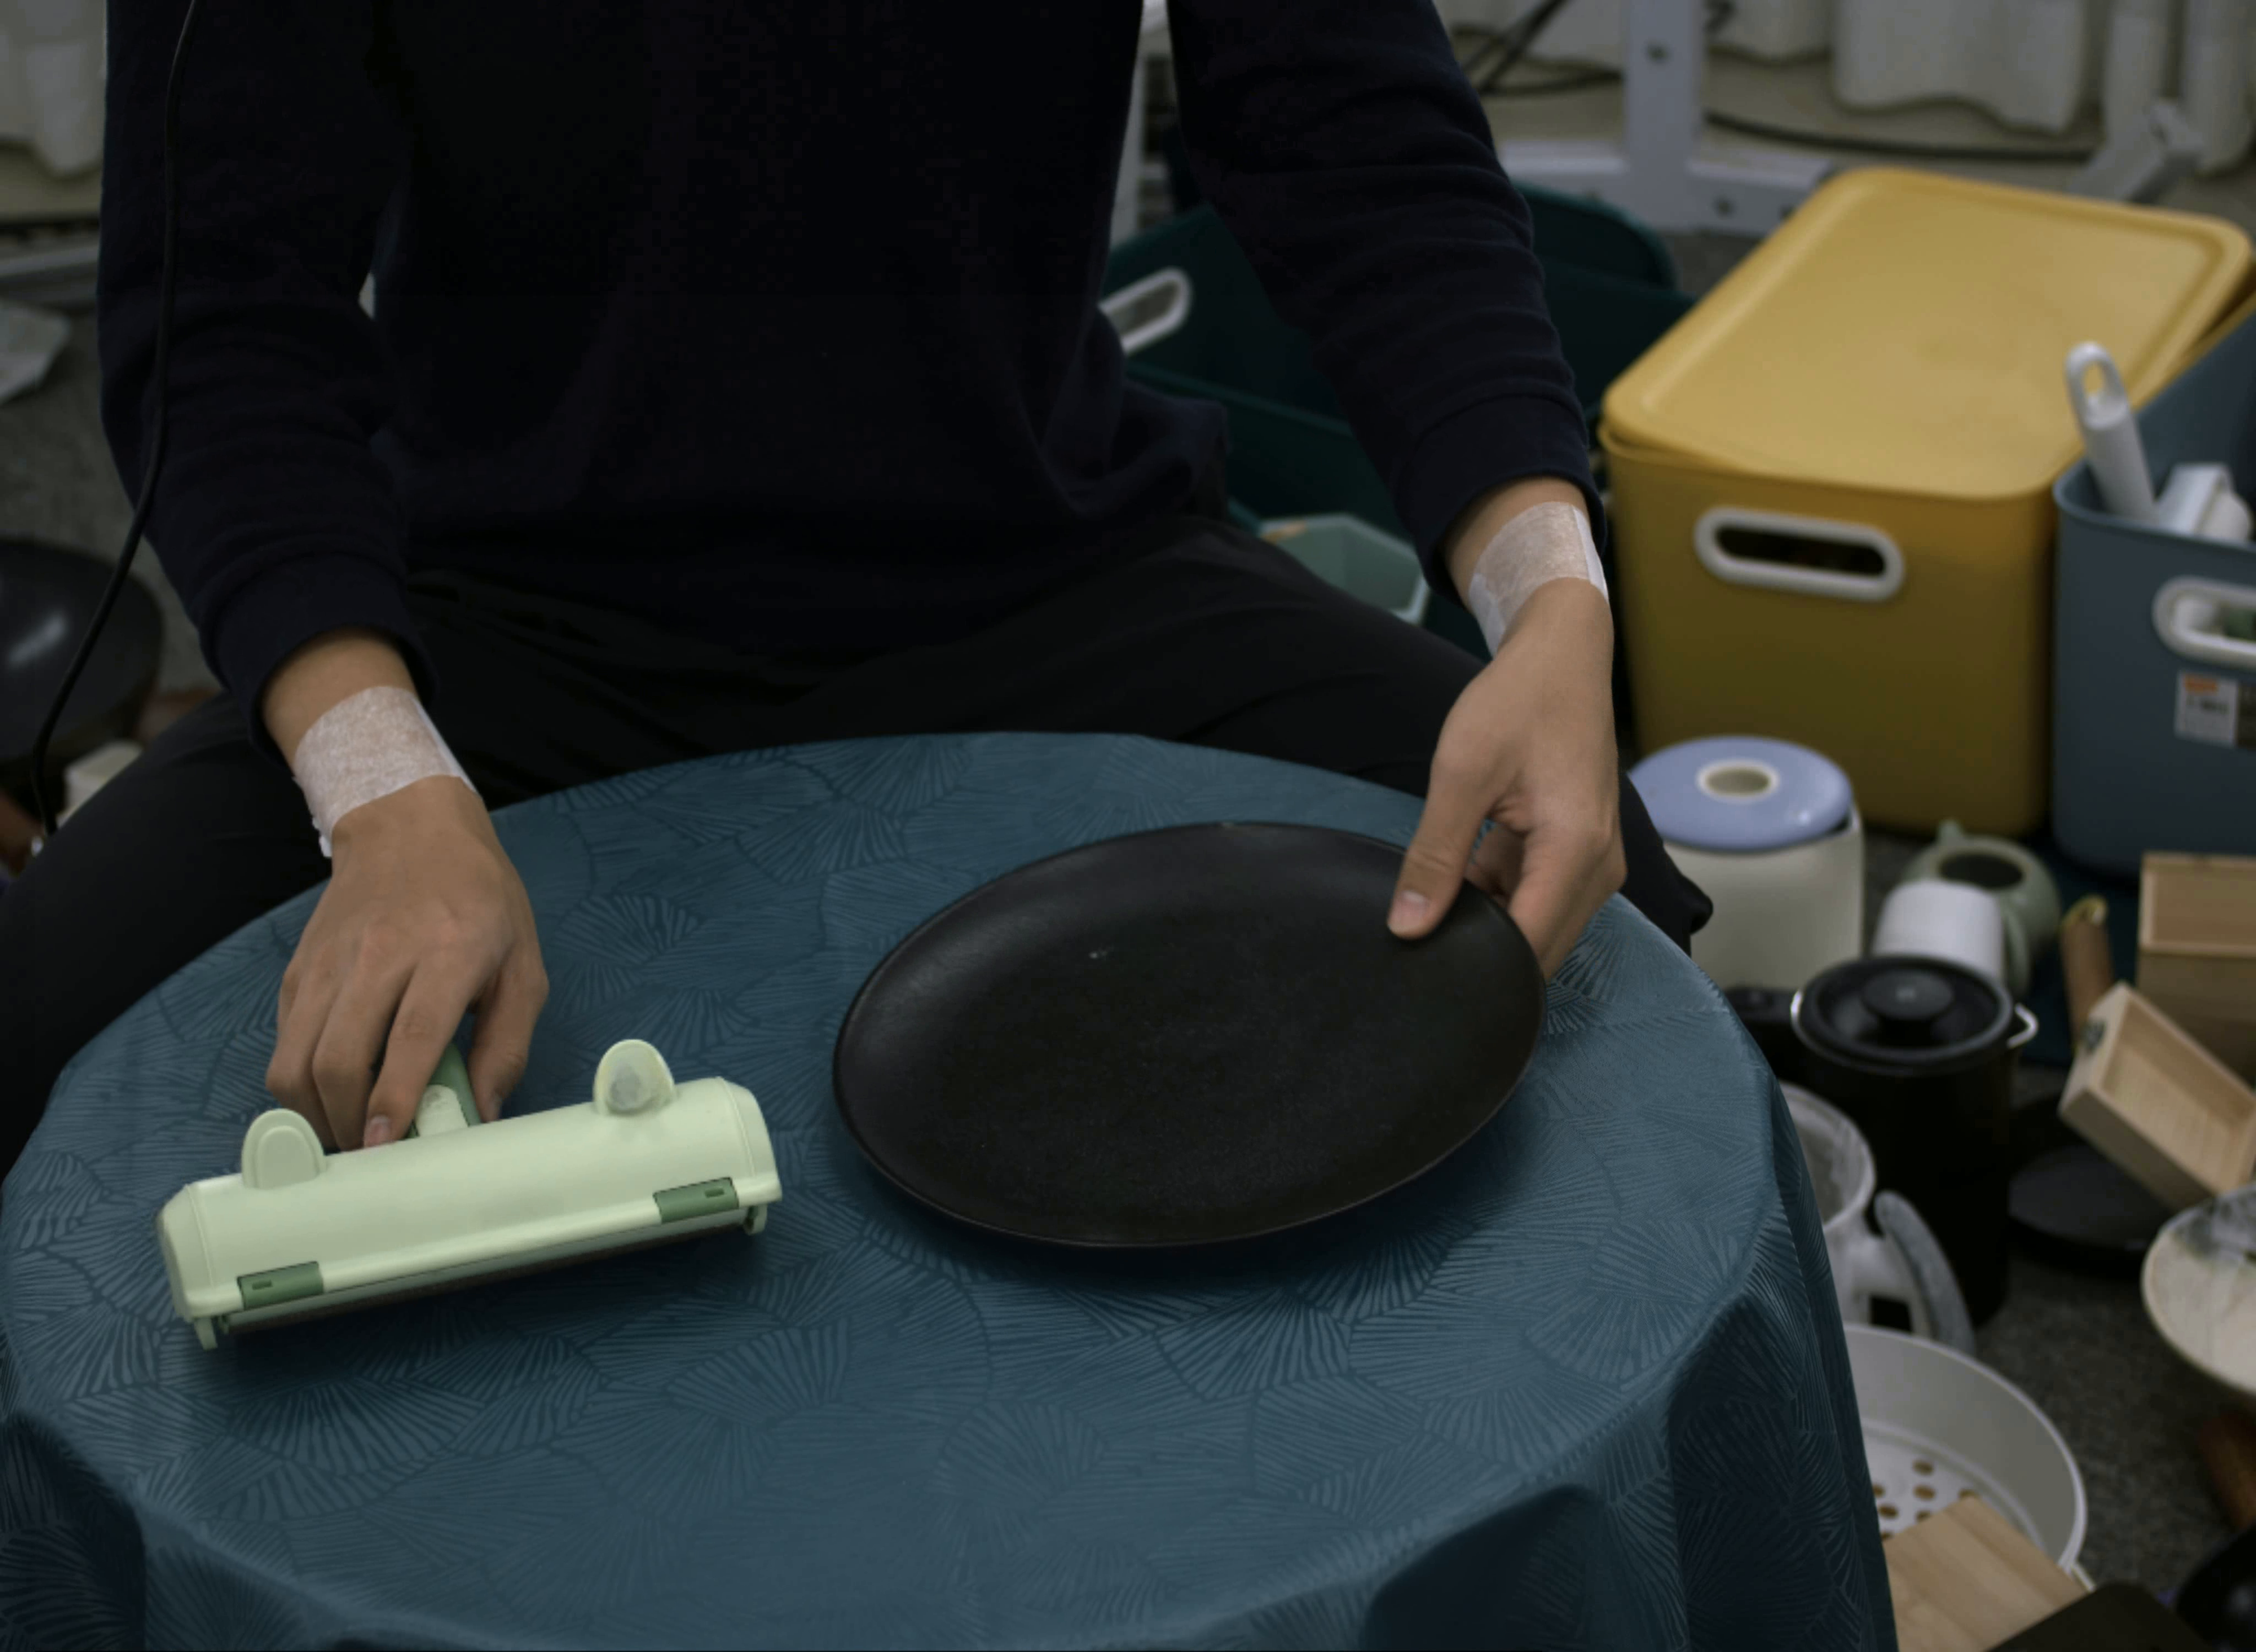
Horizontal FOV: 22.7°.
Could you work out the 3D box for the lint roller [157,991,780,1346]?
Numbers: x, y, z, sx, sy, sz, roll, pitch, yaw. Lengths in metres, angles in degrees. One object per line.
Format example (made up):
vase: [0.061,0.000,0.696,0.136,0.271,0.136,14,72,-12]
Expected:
lint roller: [-0.230,0.088,1.854,0.199,0.081,0.185,-10,36,-15]

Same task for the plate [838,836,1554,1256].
plate: [0.023,0.078,1.900,0.243,0.023,0.248,-5,32,4]
